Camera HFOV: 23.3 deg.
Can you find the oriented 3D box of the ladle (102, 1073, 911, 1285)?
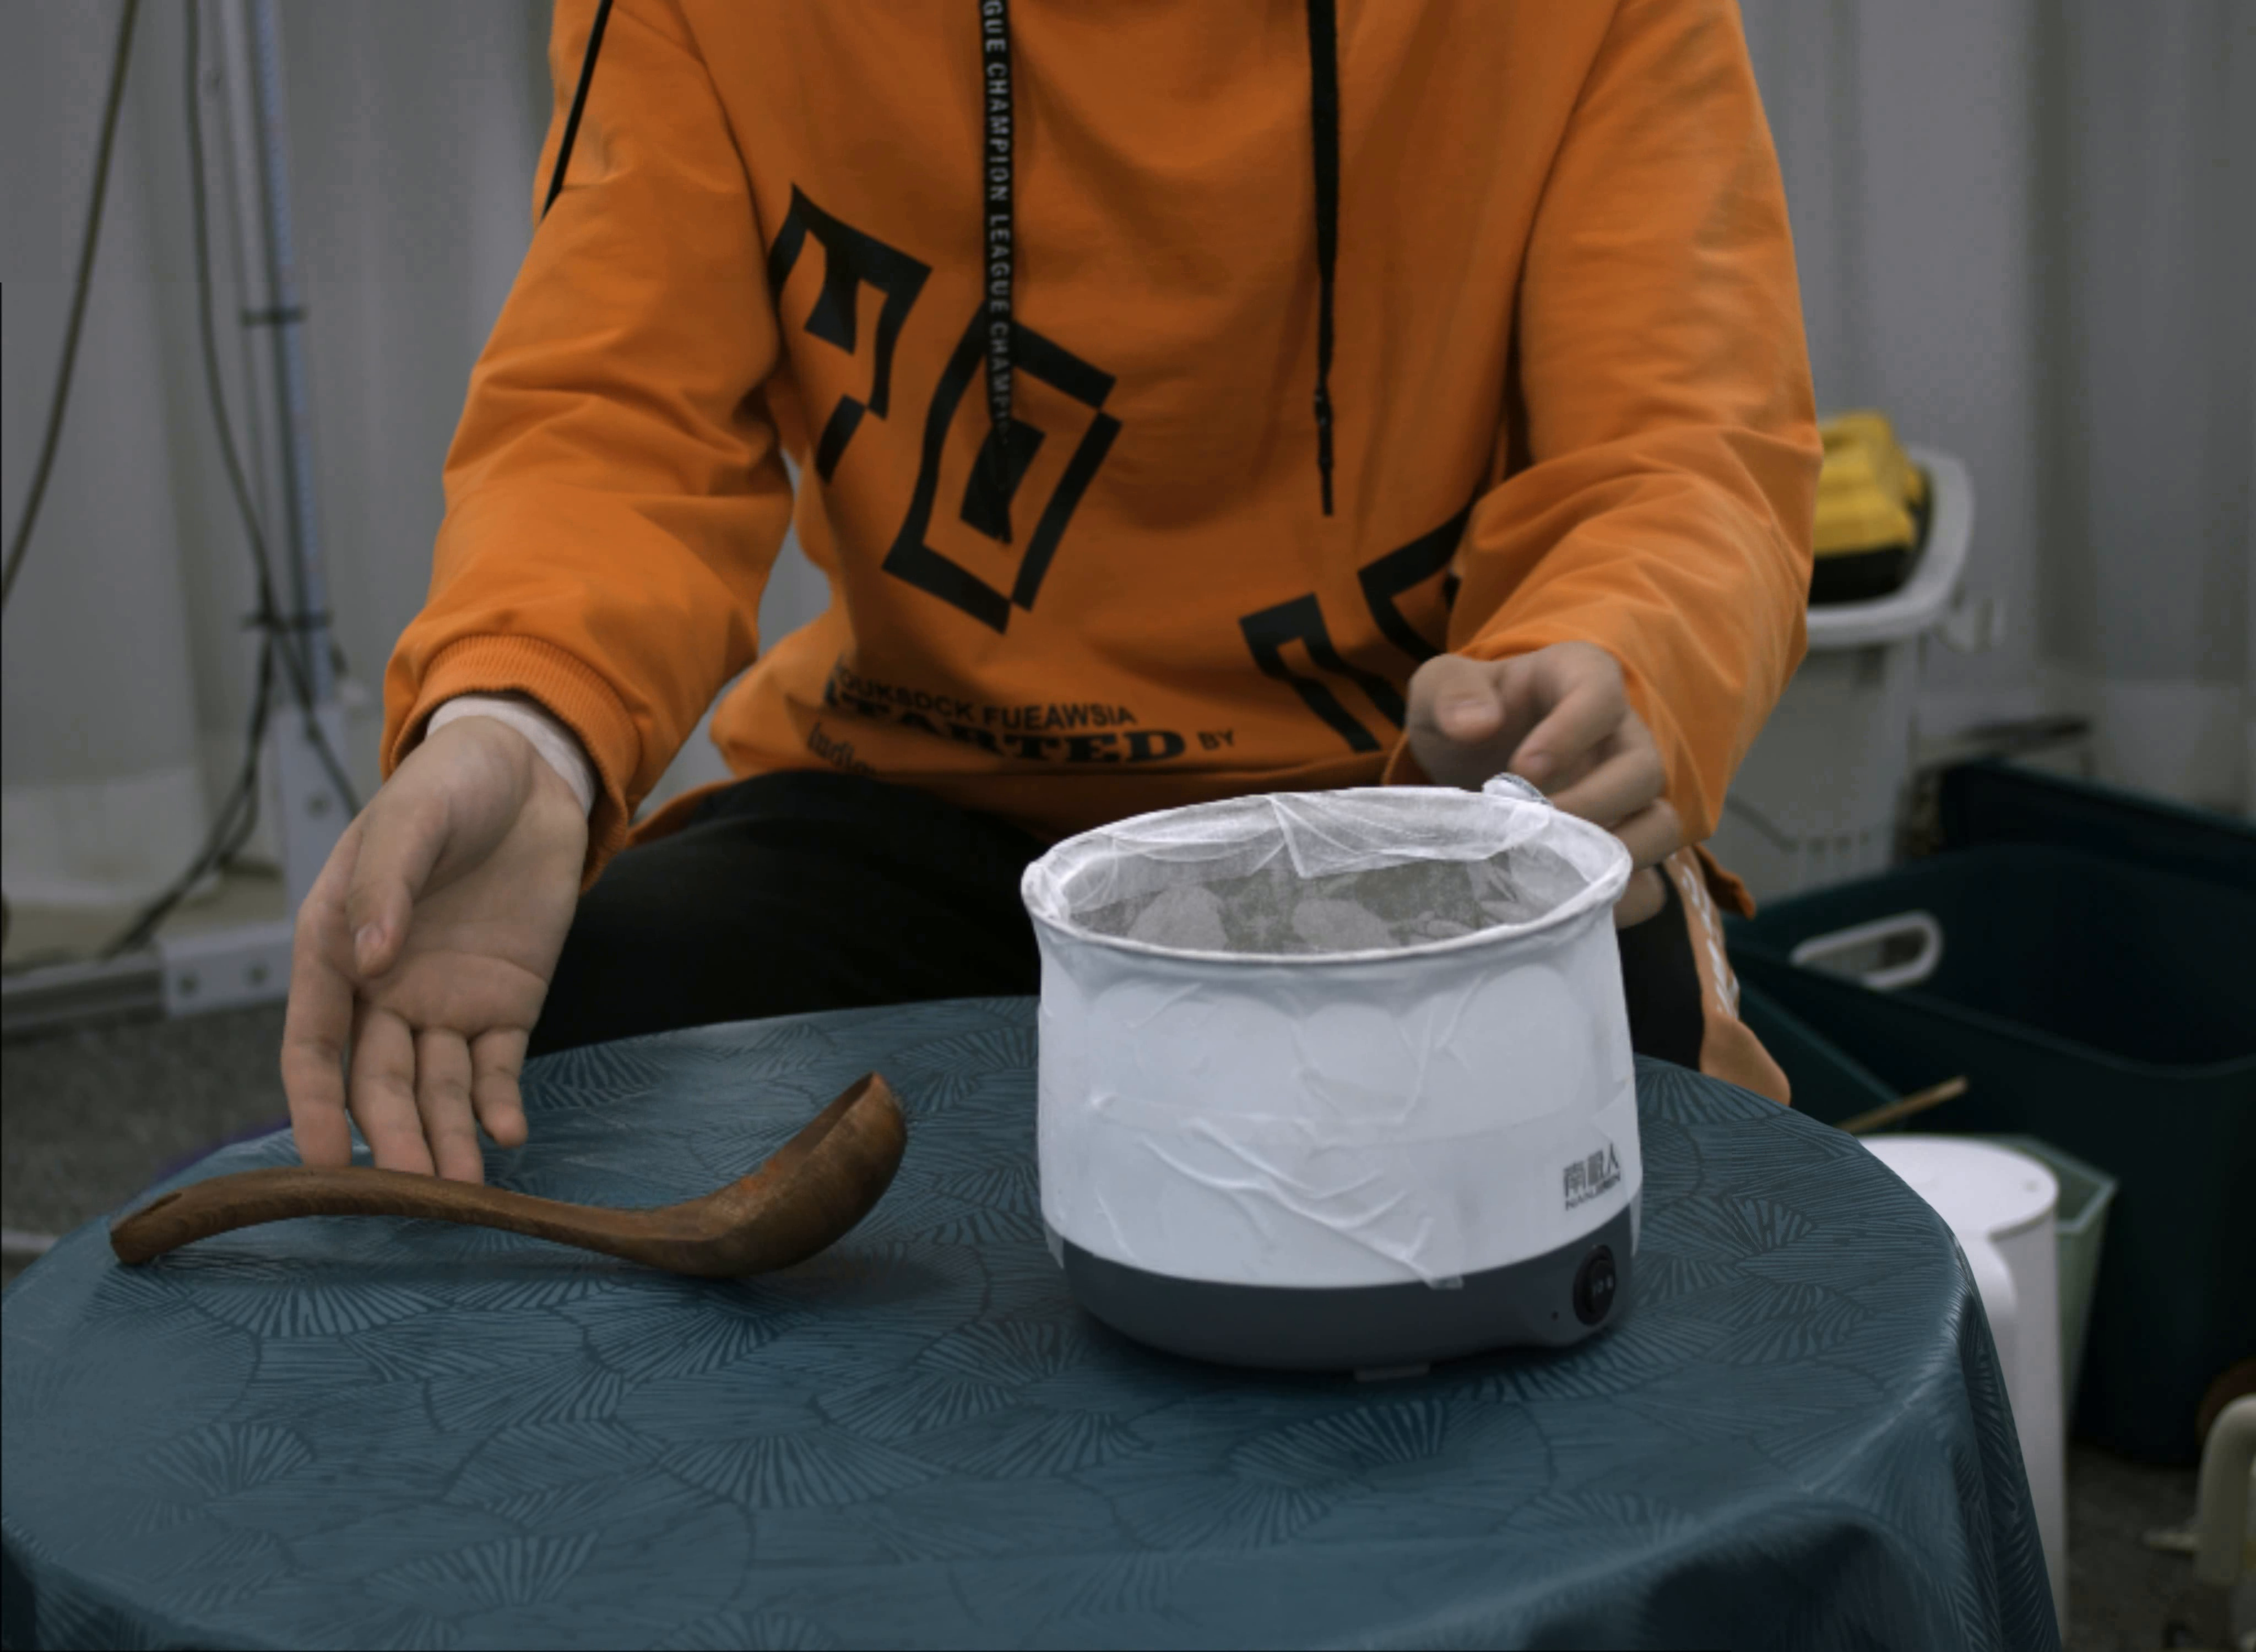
[{"bbox_3d":[-0.192,0.105,1.666,0.260,0.065,0.077,1,12,14],"label":"ladle"}]

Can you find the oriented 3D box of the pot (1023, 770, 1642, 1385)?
[{"bbox_3d":[0.076,0.067,1.615,0.179,0.136,0.234,8,19,34],"label":"pot"}]
